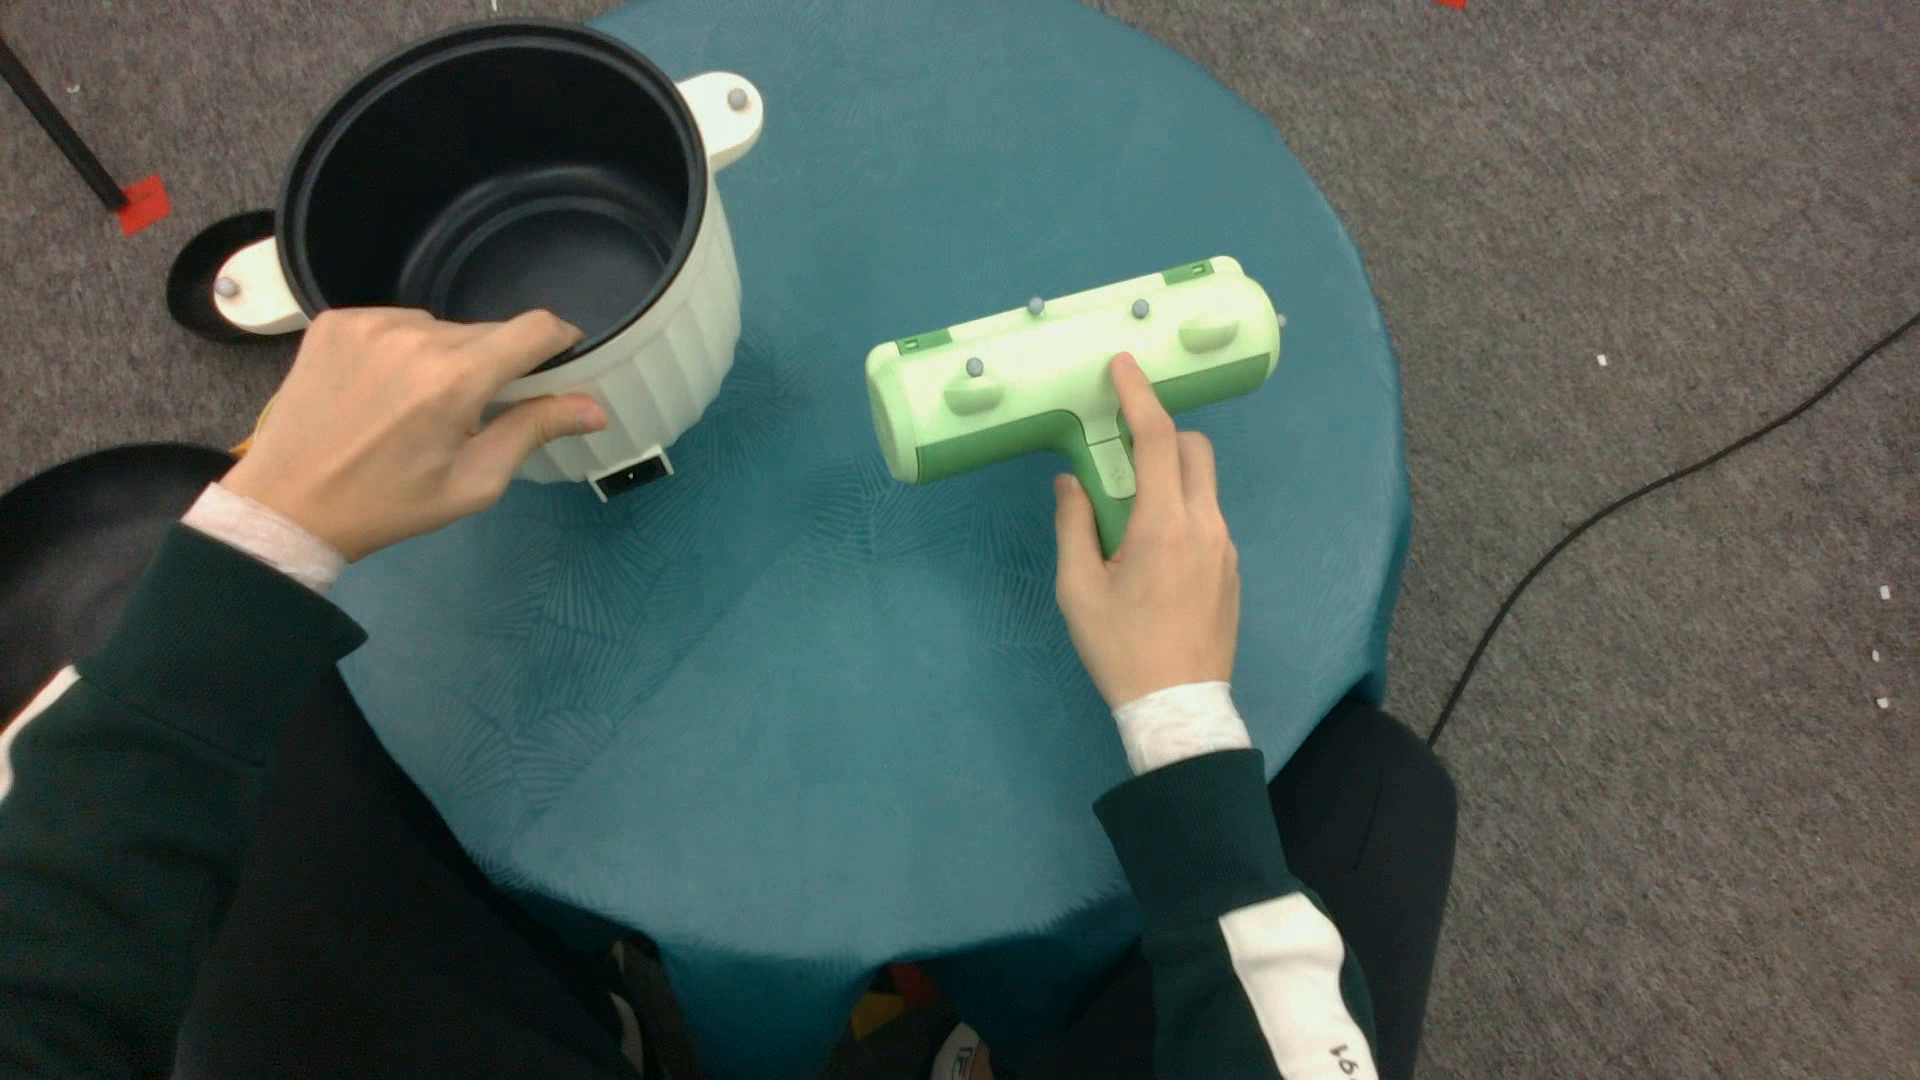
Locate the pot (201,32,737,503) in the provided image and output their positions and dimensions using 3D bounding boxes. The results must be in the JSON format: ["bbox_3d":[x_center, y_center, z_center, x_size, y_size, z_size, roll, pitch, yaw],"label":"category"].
[{"bbox_3d":[-0.209,-0.123,0.646,0.241,0.142,0.191,-25,73,-10],"label":"pot"}]

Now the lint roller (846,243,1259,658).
[{"bbox_3d":[0.066,-0.038,0.636,0.199,0.082,0.183,-17,73,-13],"label":"lint roller"}]
